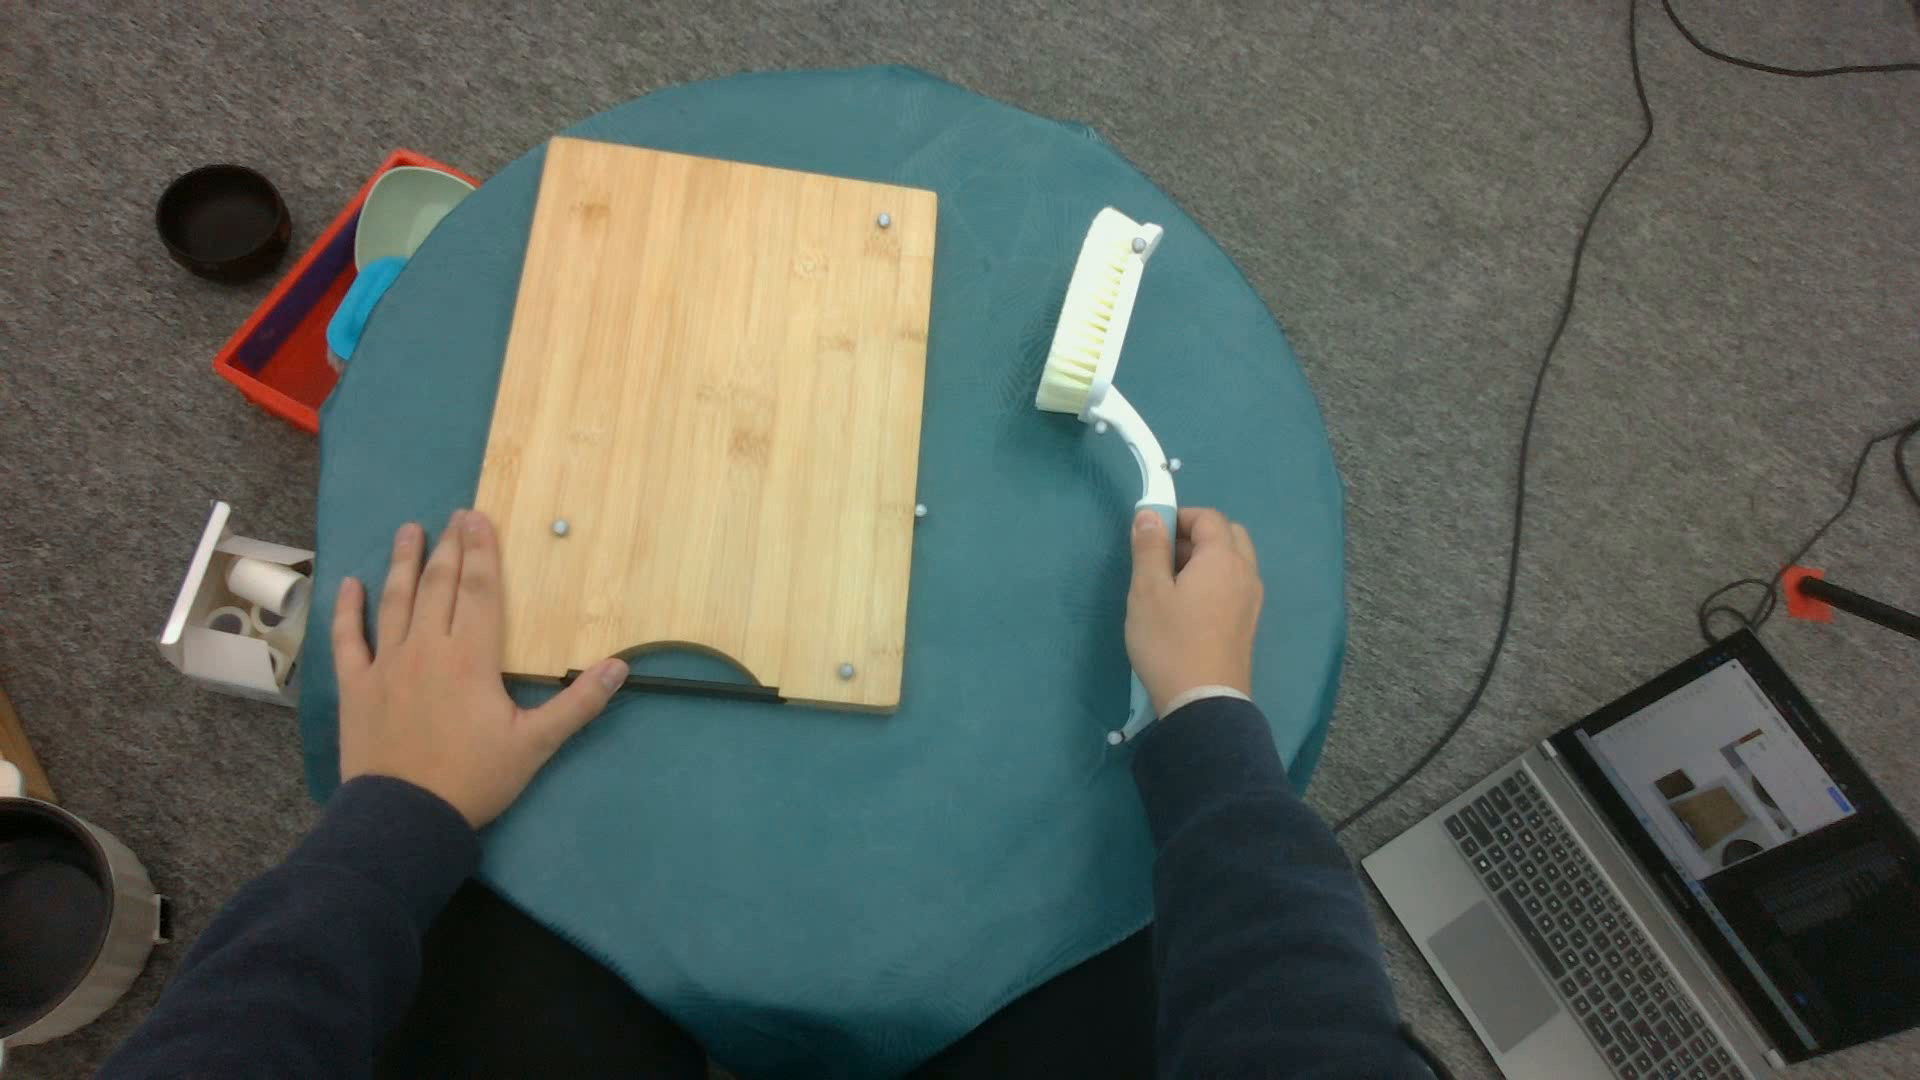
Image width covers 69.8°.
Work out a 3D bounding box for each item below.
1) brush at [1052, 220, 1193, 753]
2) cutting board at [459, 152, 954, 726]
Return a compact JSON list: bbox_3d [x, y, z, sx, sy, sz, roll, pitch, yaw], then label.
[{"bbox_3d":[0.085,-0.041,0.802,0.084,0.083,0.326,-7,70,30],"label":"brush"},{"bbox_3d":[-0.136,-0.070,0.818,0.251,0.023,0.350,5,67,-5],"label":"cutting board"}]
